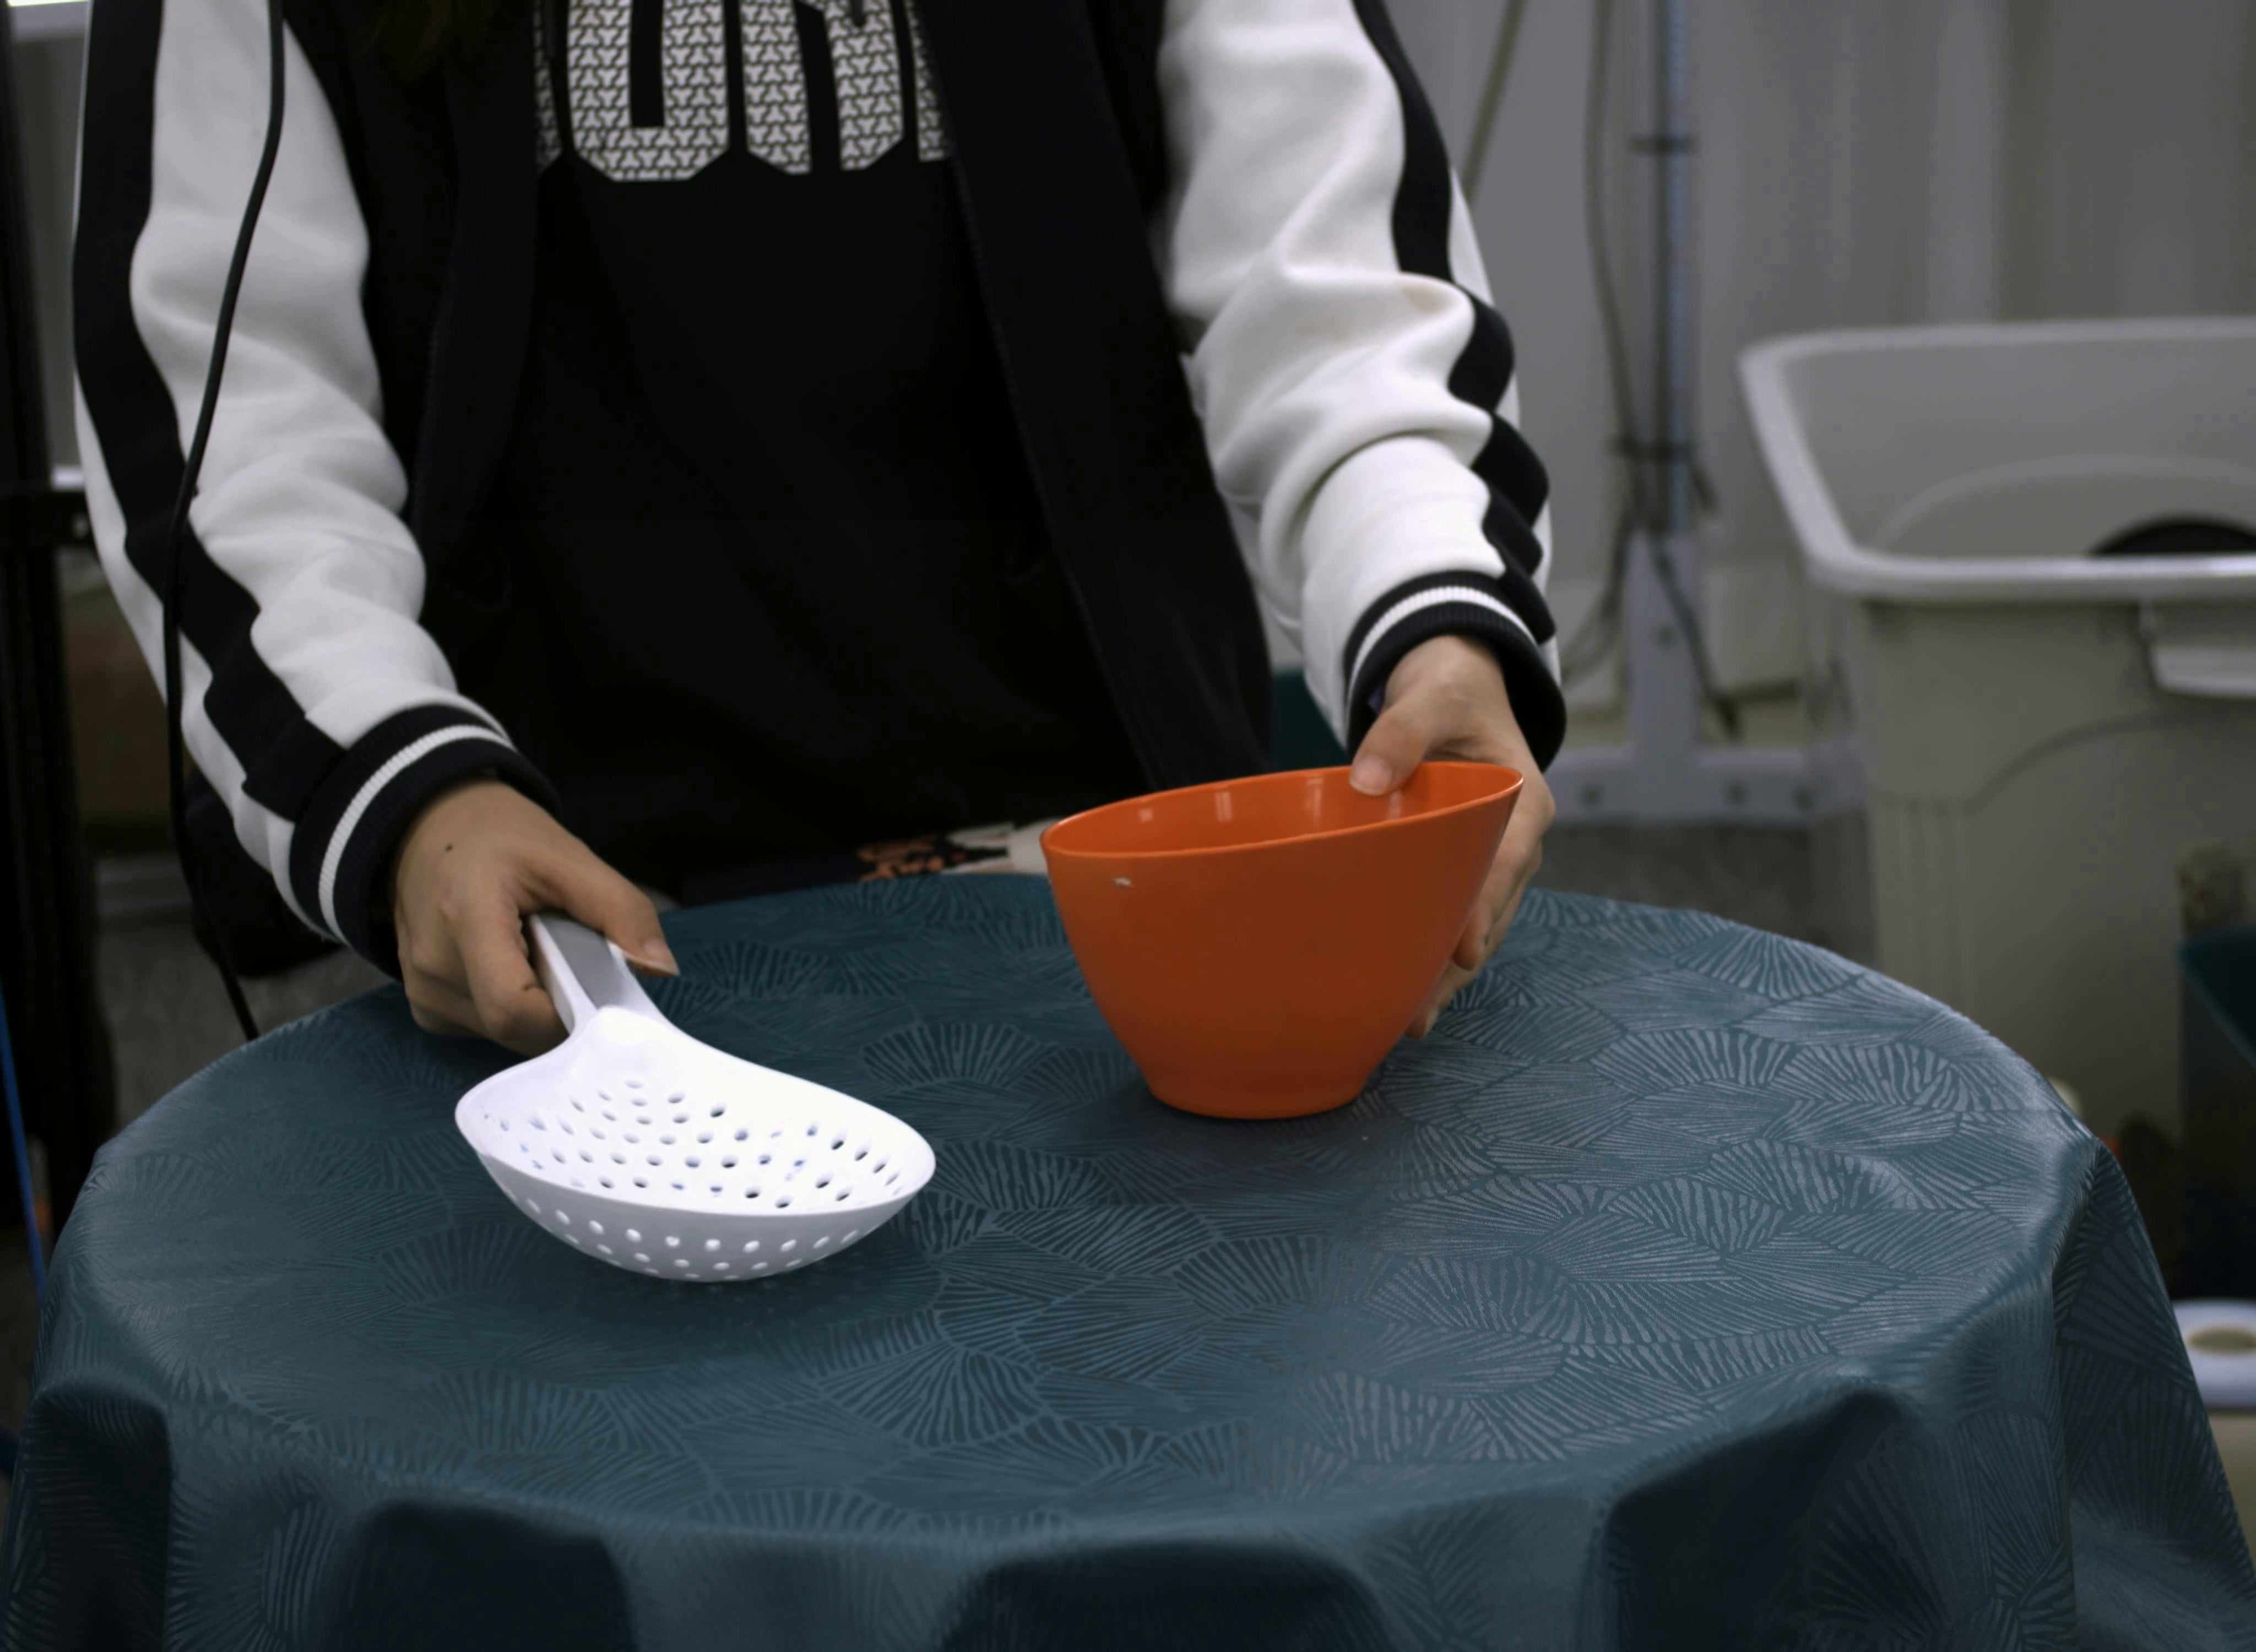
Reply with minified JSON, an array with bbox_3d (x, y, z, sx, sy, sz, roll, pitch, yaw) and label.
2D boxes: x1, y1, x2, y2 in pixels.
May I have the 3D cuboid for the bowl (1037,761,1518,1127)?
[{"bbox_3d":[0.046,0.035,1.621,0.147,0.104,0.149,-3,15,-1],"label":"bowl"}]

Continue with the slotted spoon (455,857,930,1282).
[{"bbox_3d":[-0.151,0.065,1.608,0.134,0.046,0.355,4,19,-16],"label":"slotted spoon"}]
